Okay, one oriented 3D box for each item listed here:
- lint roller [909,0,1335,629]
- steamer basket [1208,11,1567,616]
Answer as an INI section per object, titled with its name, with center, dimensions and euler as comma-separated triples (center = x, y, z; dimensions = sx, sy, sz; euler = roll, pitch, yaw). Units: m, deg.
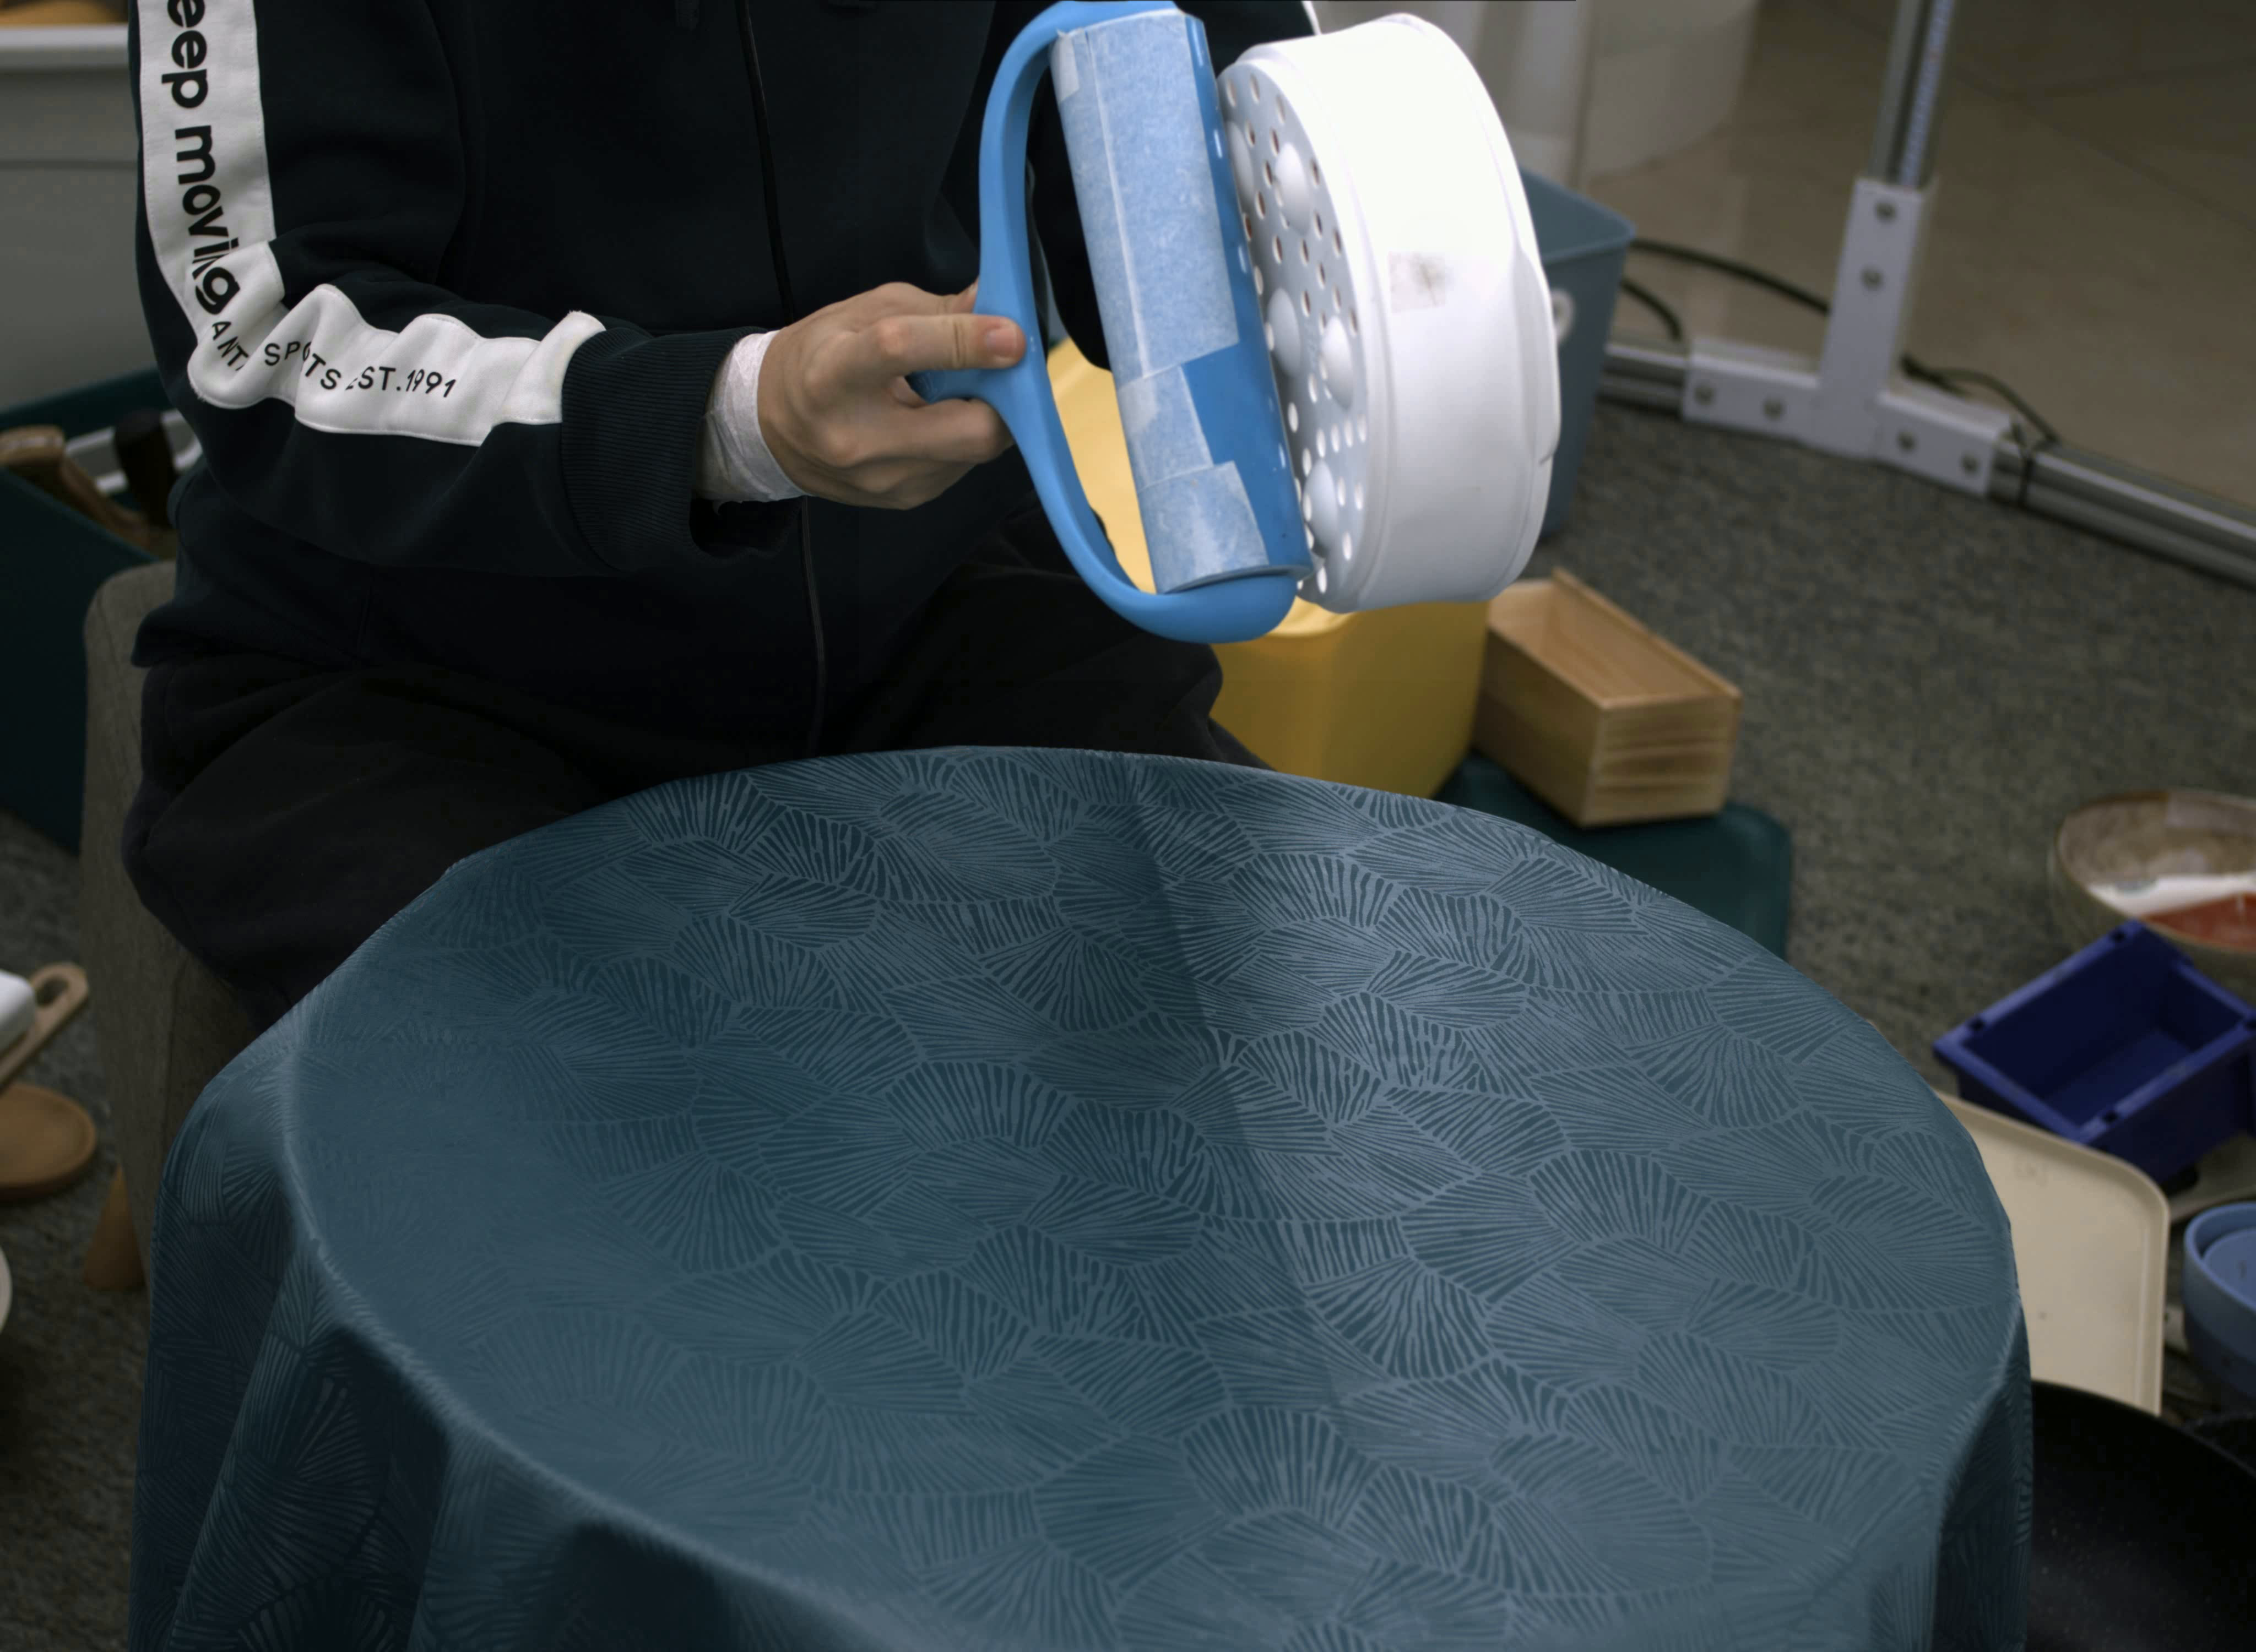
[lint roller]
center = -0.024, -0.159, 1.819
dimensions = 0.180, 0.230, 0.067
euler = -23, -11, 38
[steamer basket]
center = 0.077, -0.170, 1.793
dimensions = 0.069, 0.201, 0.232
euler = -9, 15, -16
